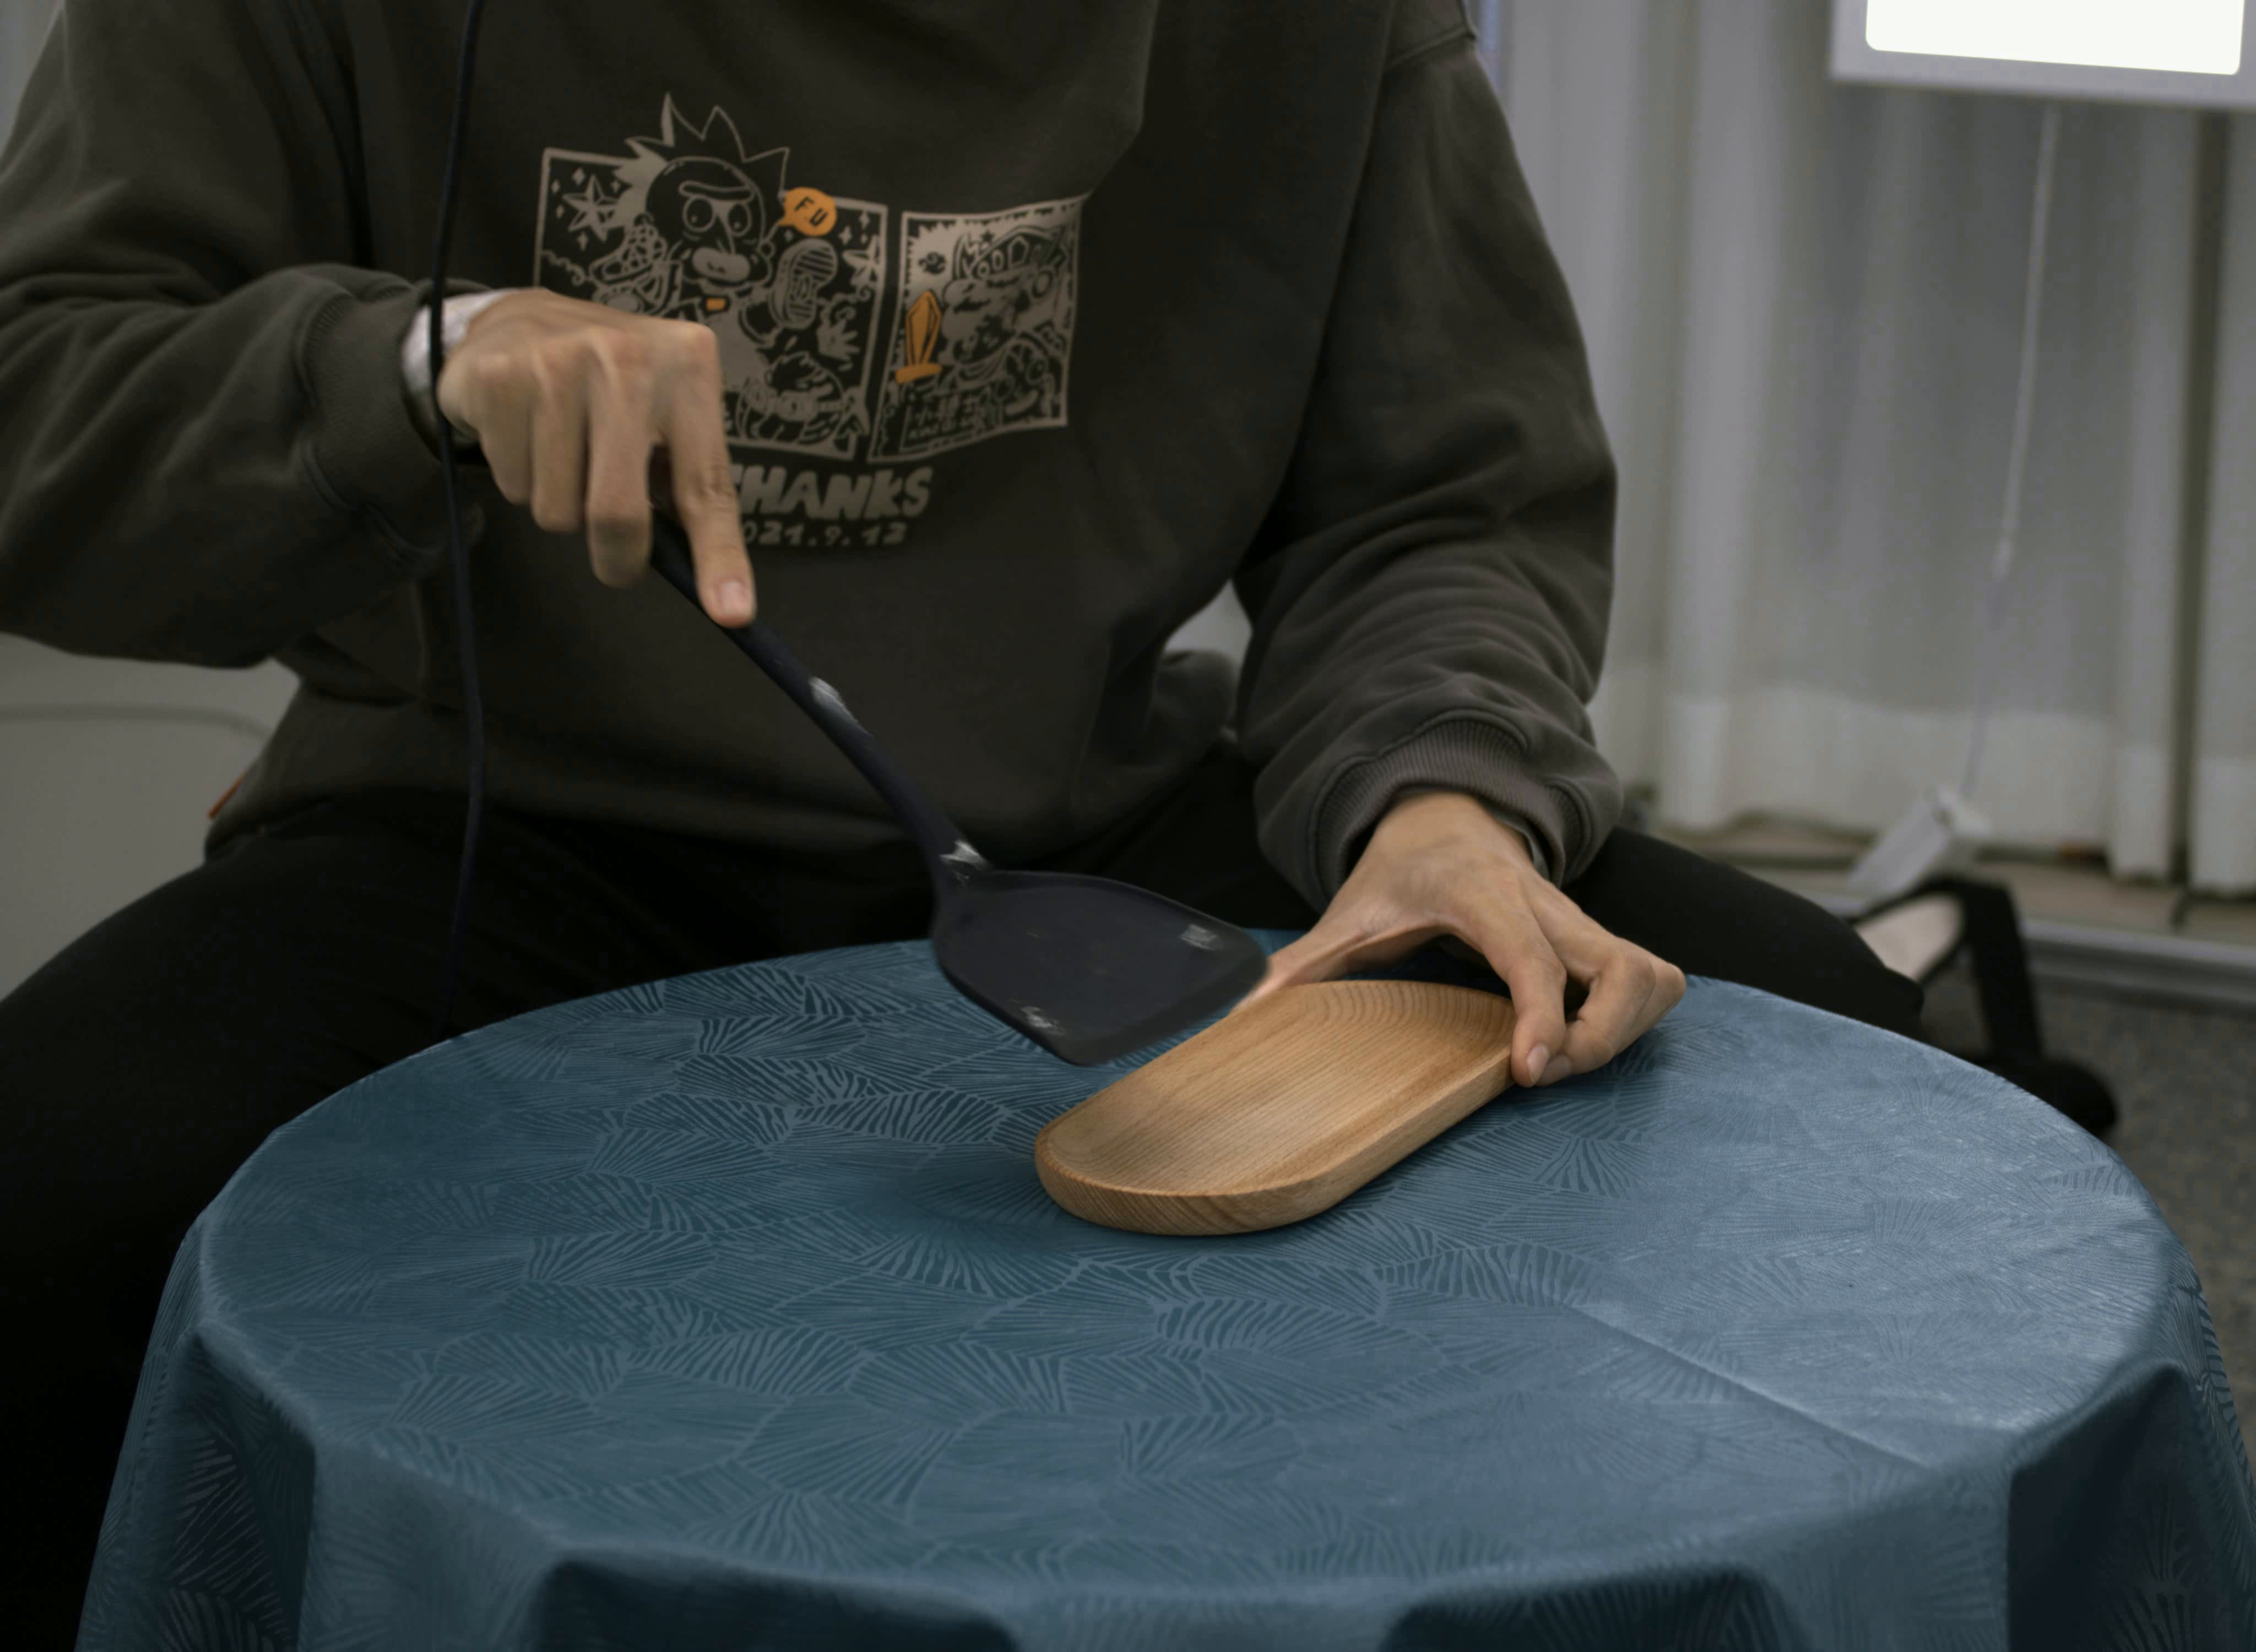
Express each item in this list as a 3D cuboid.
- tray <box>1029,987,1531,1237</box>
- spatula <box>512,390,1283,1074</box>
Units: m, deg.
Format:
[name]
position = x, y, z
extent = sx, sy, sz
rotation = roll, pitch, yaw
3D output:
[tray]
position = 0.051, 0.090, 1.685
extent = 0.100, 0.020, 0.232
rotation = 7, 18, 28
[spatula]
position = -0.088, -0.038, 1.669
extent = 0.324, 0.040, 0.100
rotation = 47, 42, 16
